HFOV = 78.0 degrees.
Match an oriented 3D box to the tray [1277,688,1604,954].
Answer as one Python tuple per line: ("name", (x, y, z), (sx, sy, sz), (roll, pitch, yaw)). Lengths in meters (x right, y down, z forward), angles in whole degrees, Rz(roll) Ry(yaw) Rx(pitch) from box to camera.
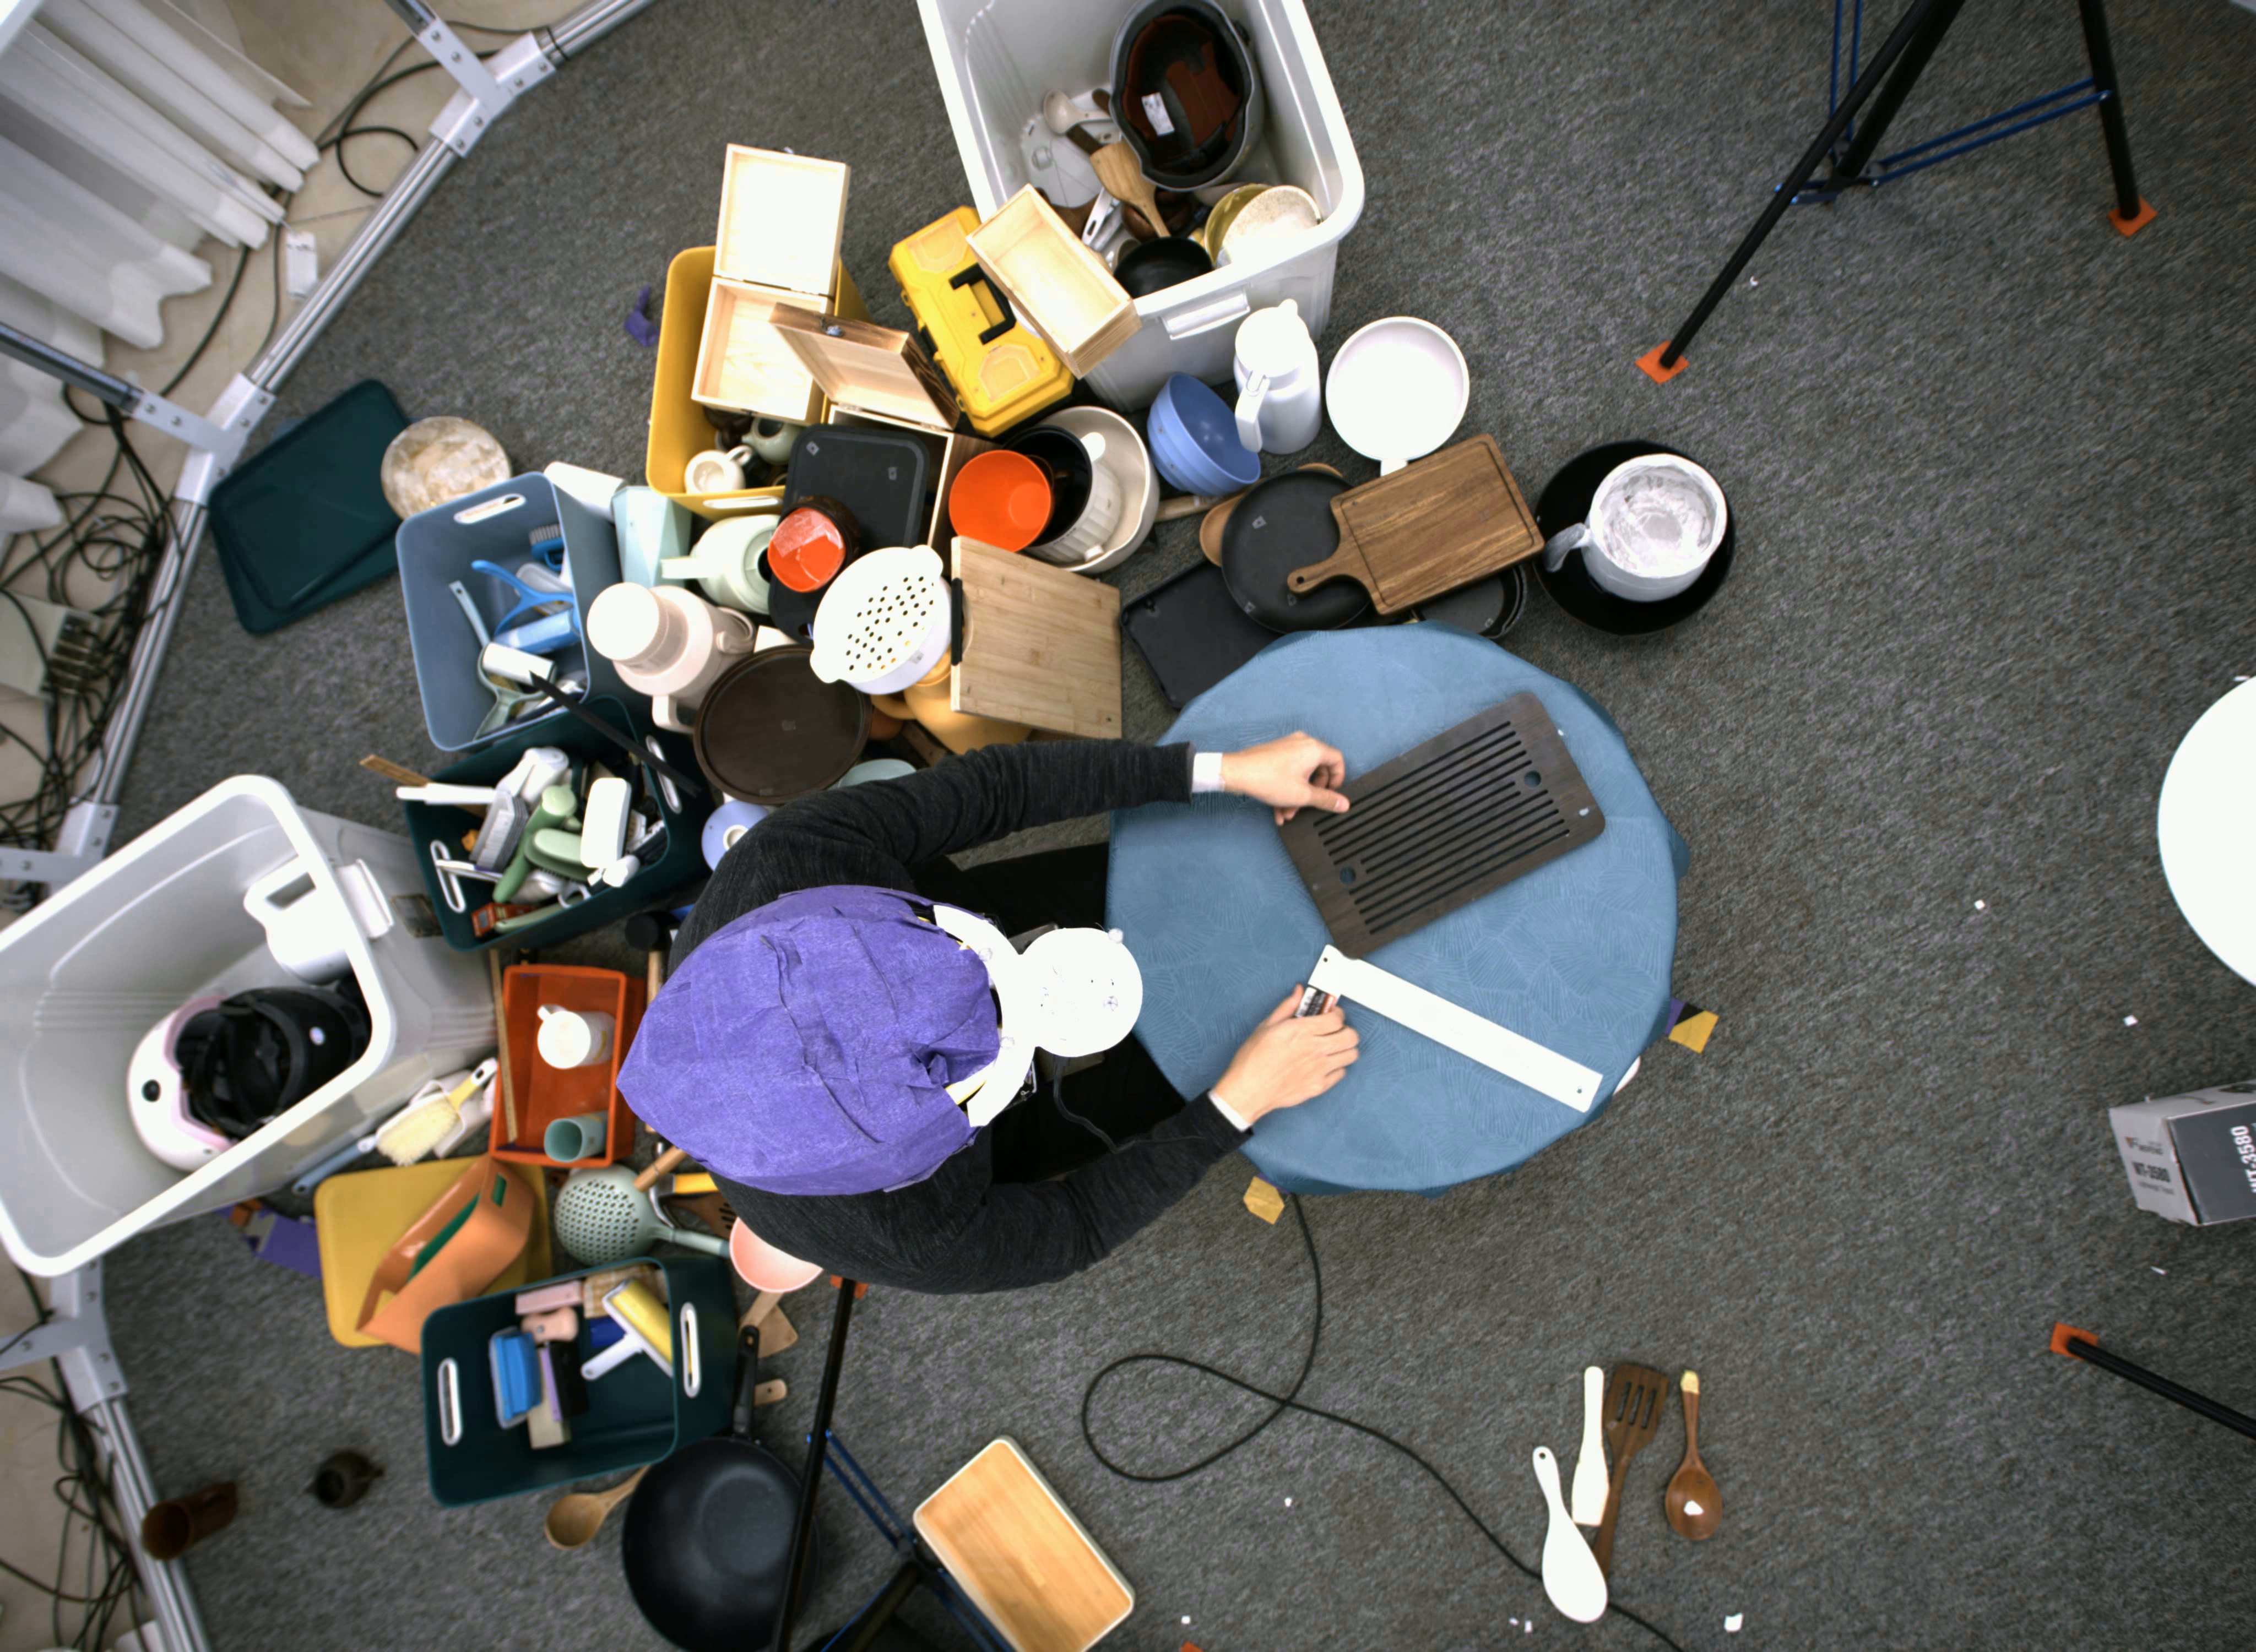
("tray", (0.325, -0.006, 1.442), (0.308, 0.018, 0.169), (-27, 85, 8))

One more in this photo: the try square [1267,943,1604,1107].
("try square", (0.316, 0.252, 1.431), (0.312, 0.016, 0.151), (25, 87, 10))
